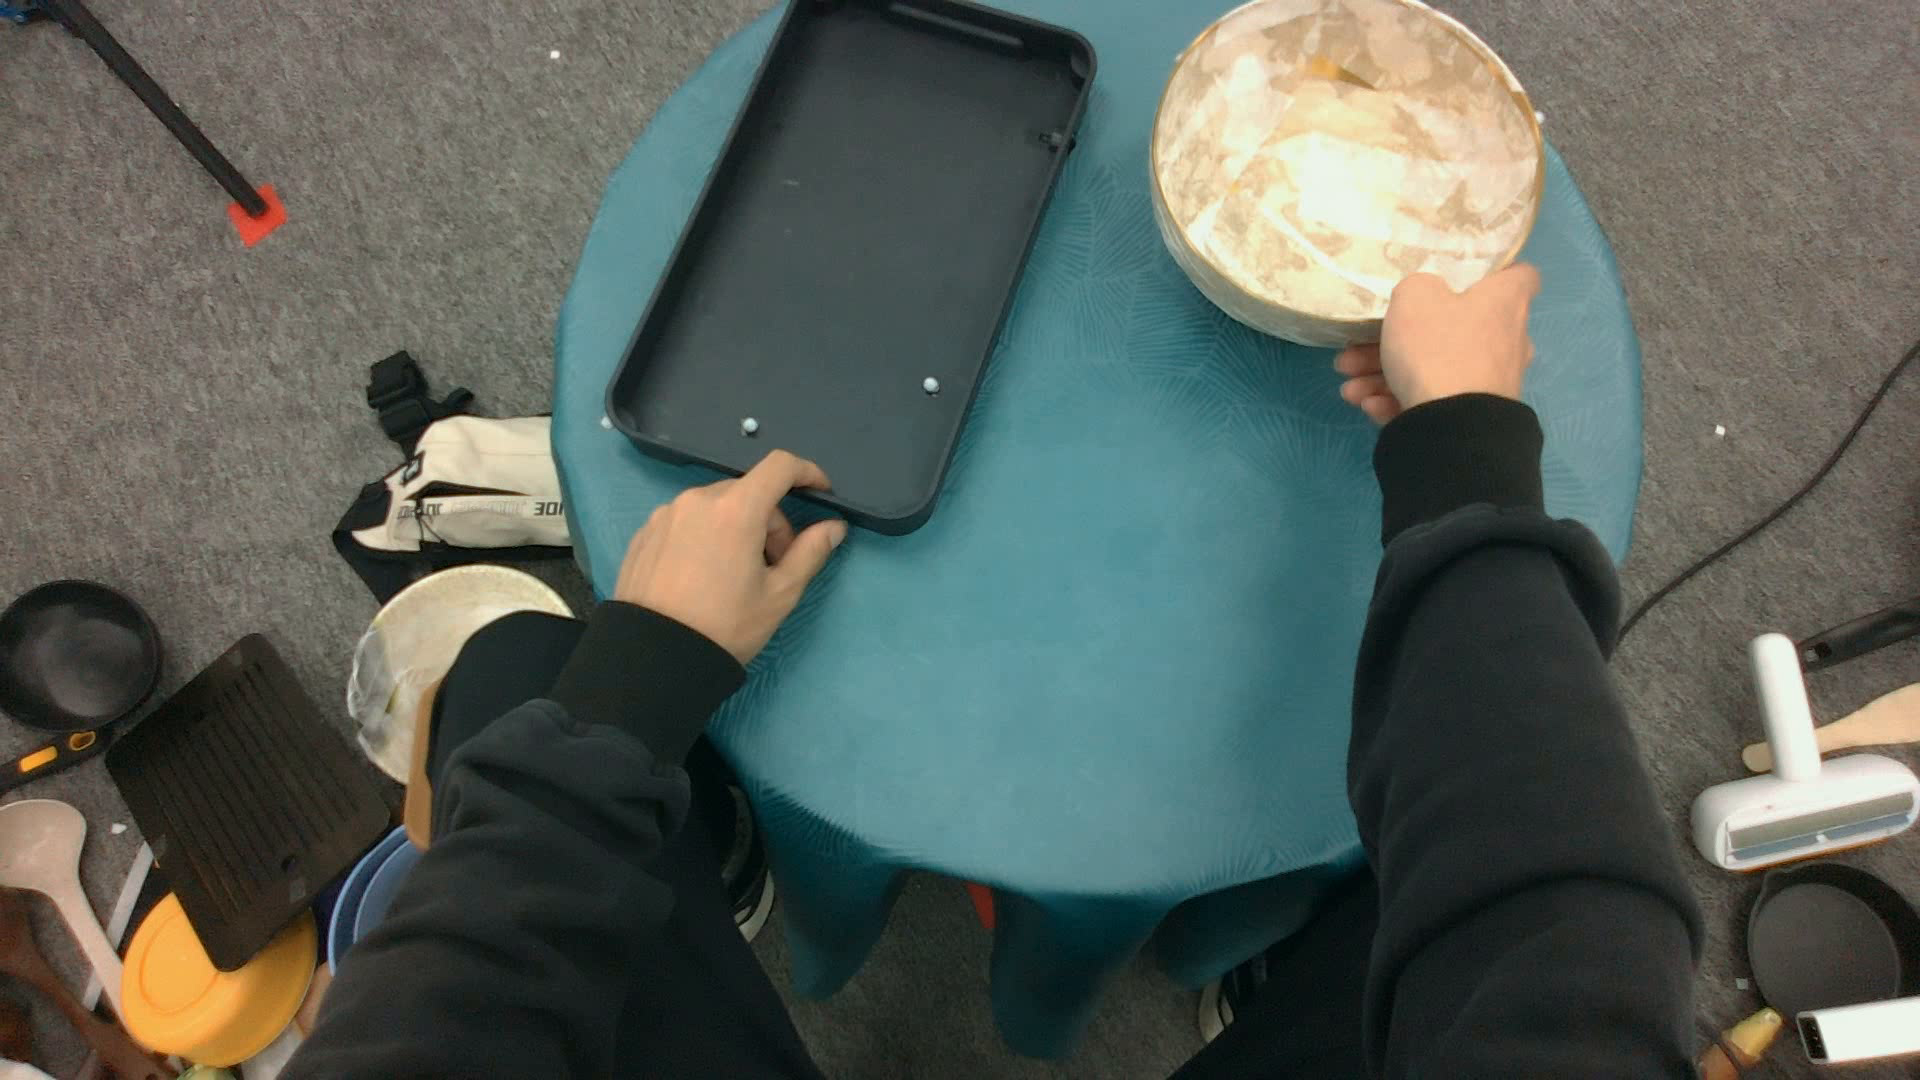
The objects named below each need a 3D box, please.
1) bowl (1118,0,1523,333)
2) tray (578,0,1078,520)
[{"bbox_3d":[0.182,-0.191,0.747,0.215,0.094,0.215,1,70,-2],"label":"bowl"},{"bbox_3d":[-0.066,-0.179,0.767,0.184,0.037,0.319,19,73,4],"label":"tray"}]
